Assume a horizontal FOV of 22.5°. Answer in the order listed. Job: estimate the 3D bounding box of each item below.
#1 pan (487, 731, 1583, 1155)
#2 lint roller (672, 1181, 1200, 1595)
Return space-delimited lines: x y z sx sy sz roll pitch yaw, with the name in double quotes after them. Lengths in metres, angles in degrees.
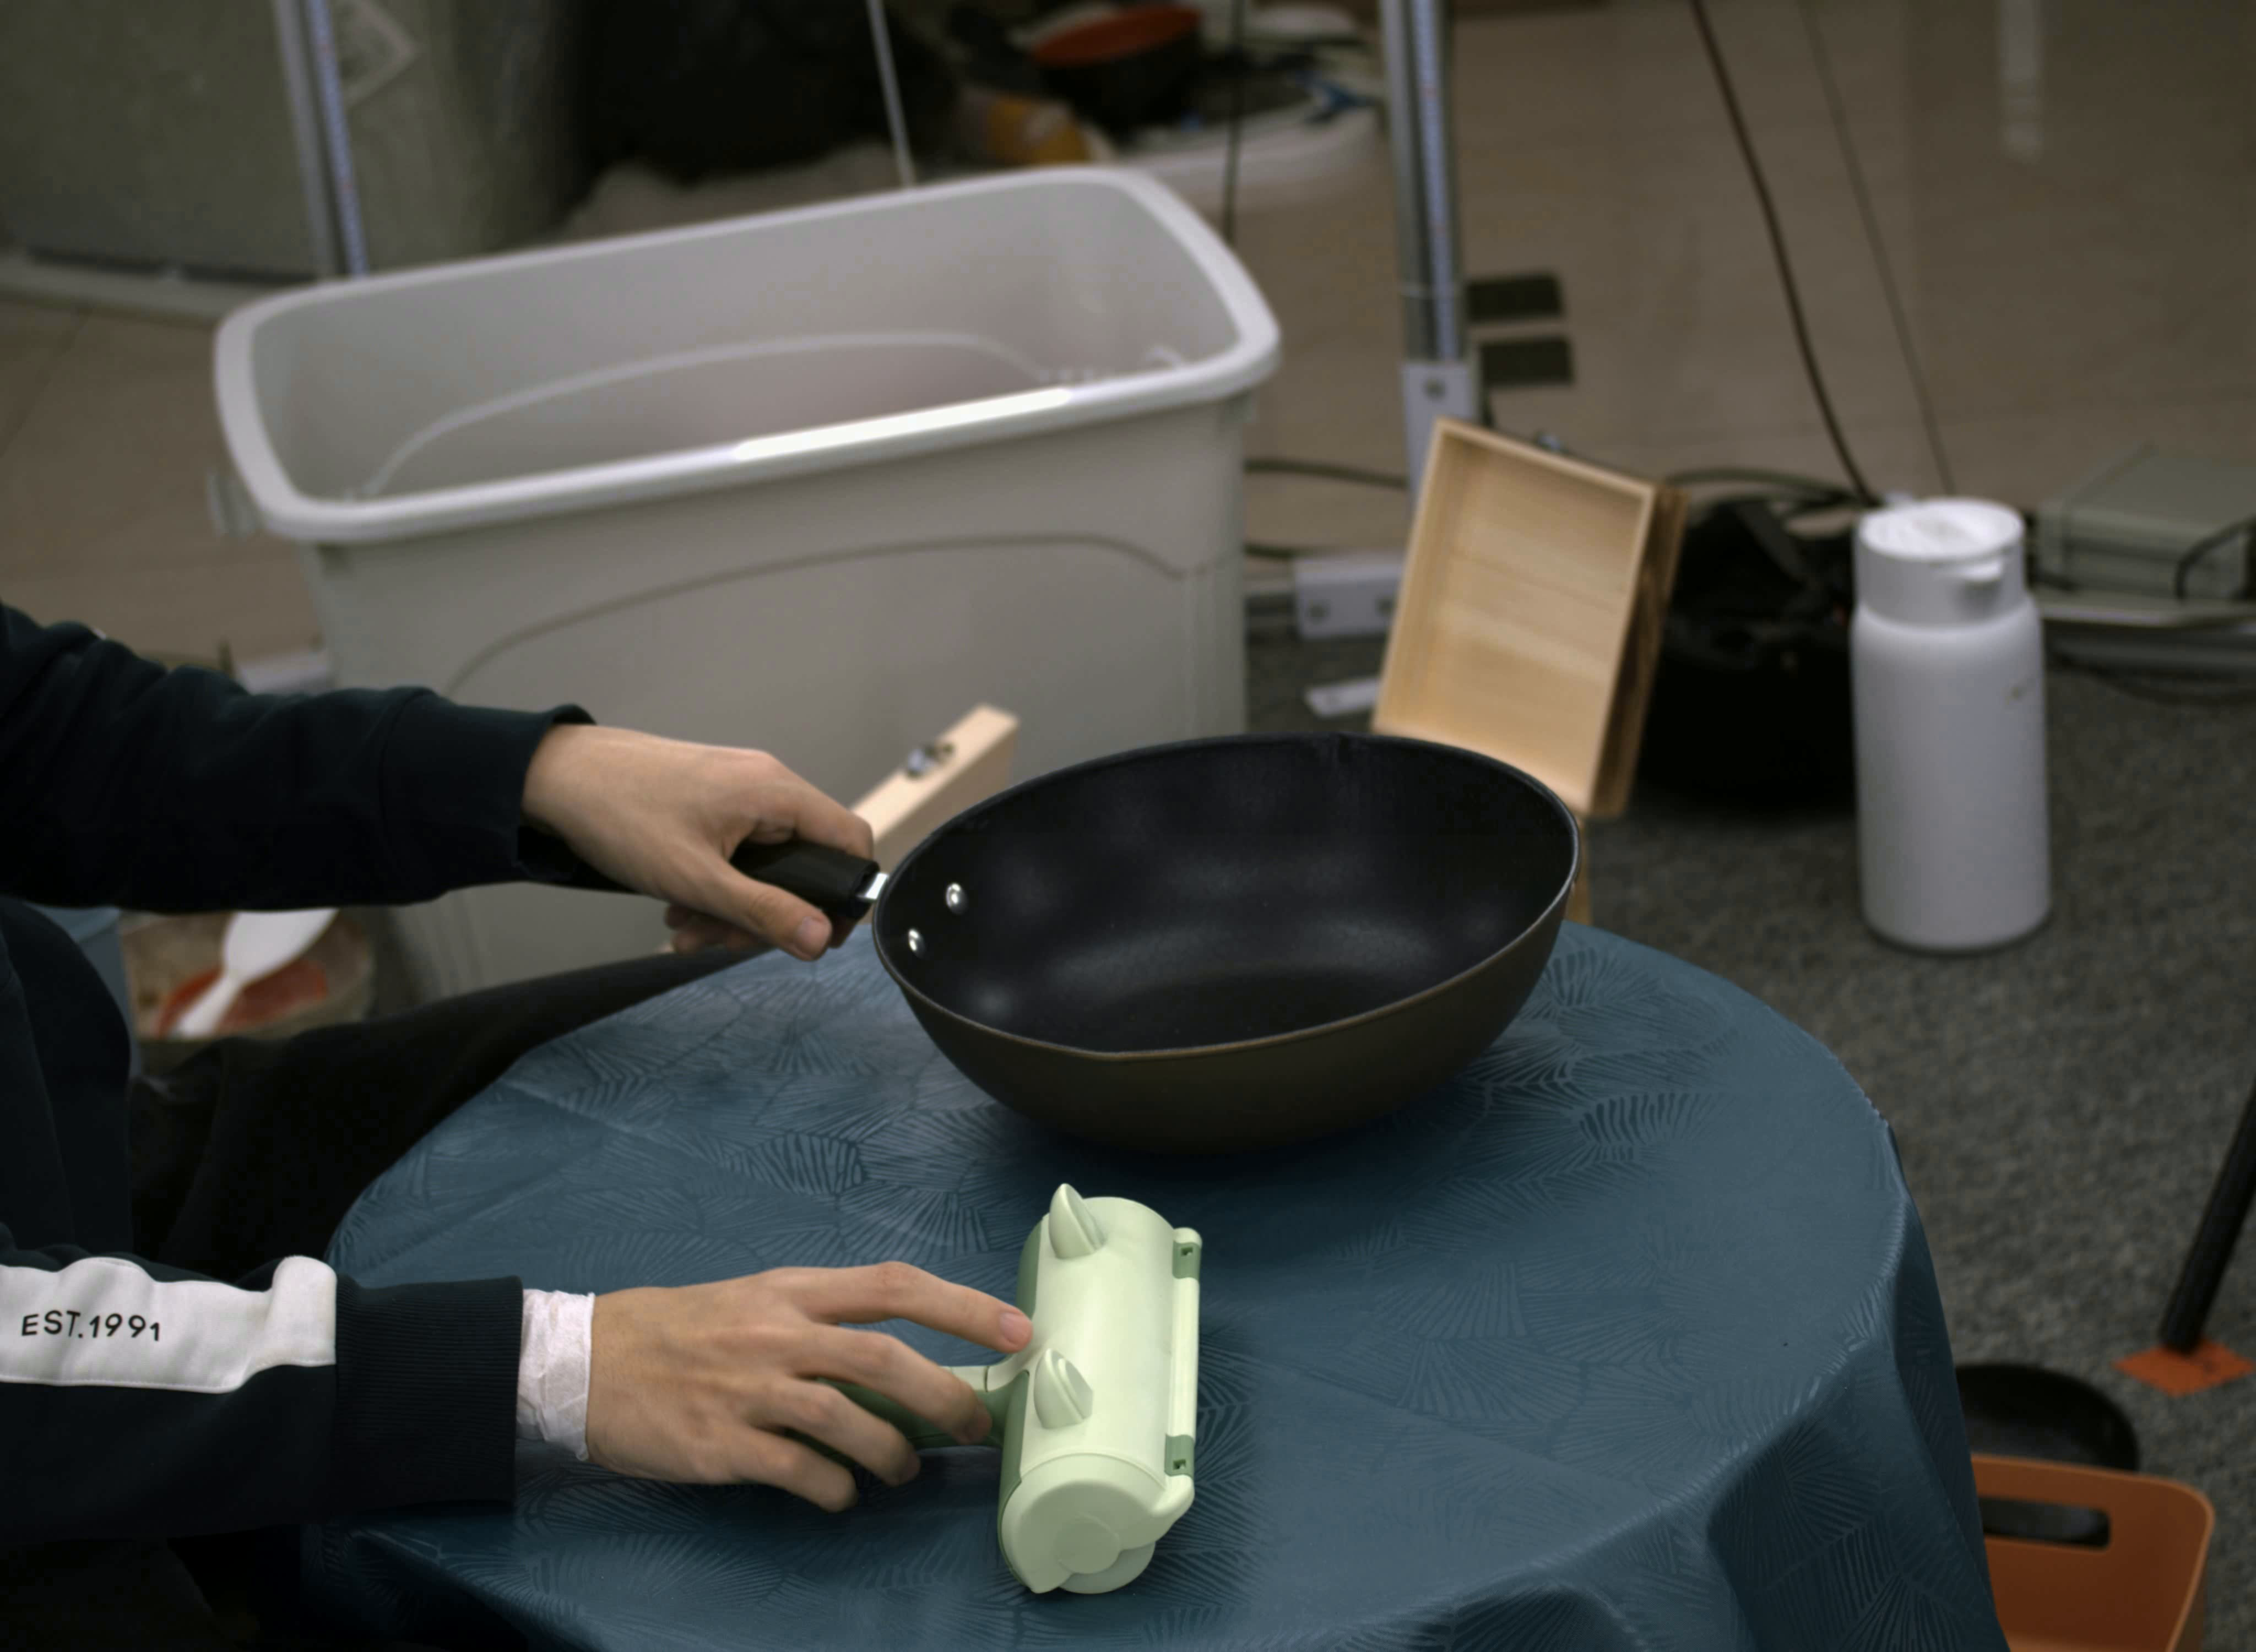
-0.042 0.053 2.242 0.462 0.088 0.284 1 26 21 "pan"
-0.068 0.187 1.966 0.183 0.083 0.195 1 26 2 "lint roller"
